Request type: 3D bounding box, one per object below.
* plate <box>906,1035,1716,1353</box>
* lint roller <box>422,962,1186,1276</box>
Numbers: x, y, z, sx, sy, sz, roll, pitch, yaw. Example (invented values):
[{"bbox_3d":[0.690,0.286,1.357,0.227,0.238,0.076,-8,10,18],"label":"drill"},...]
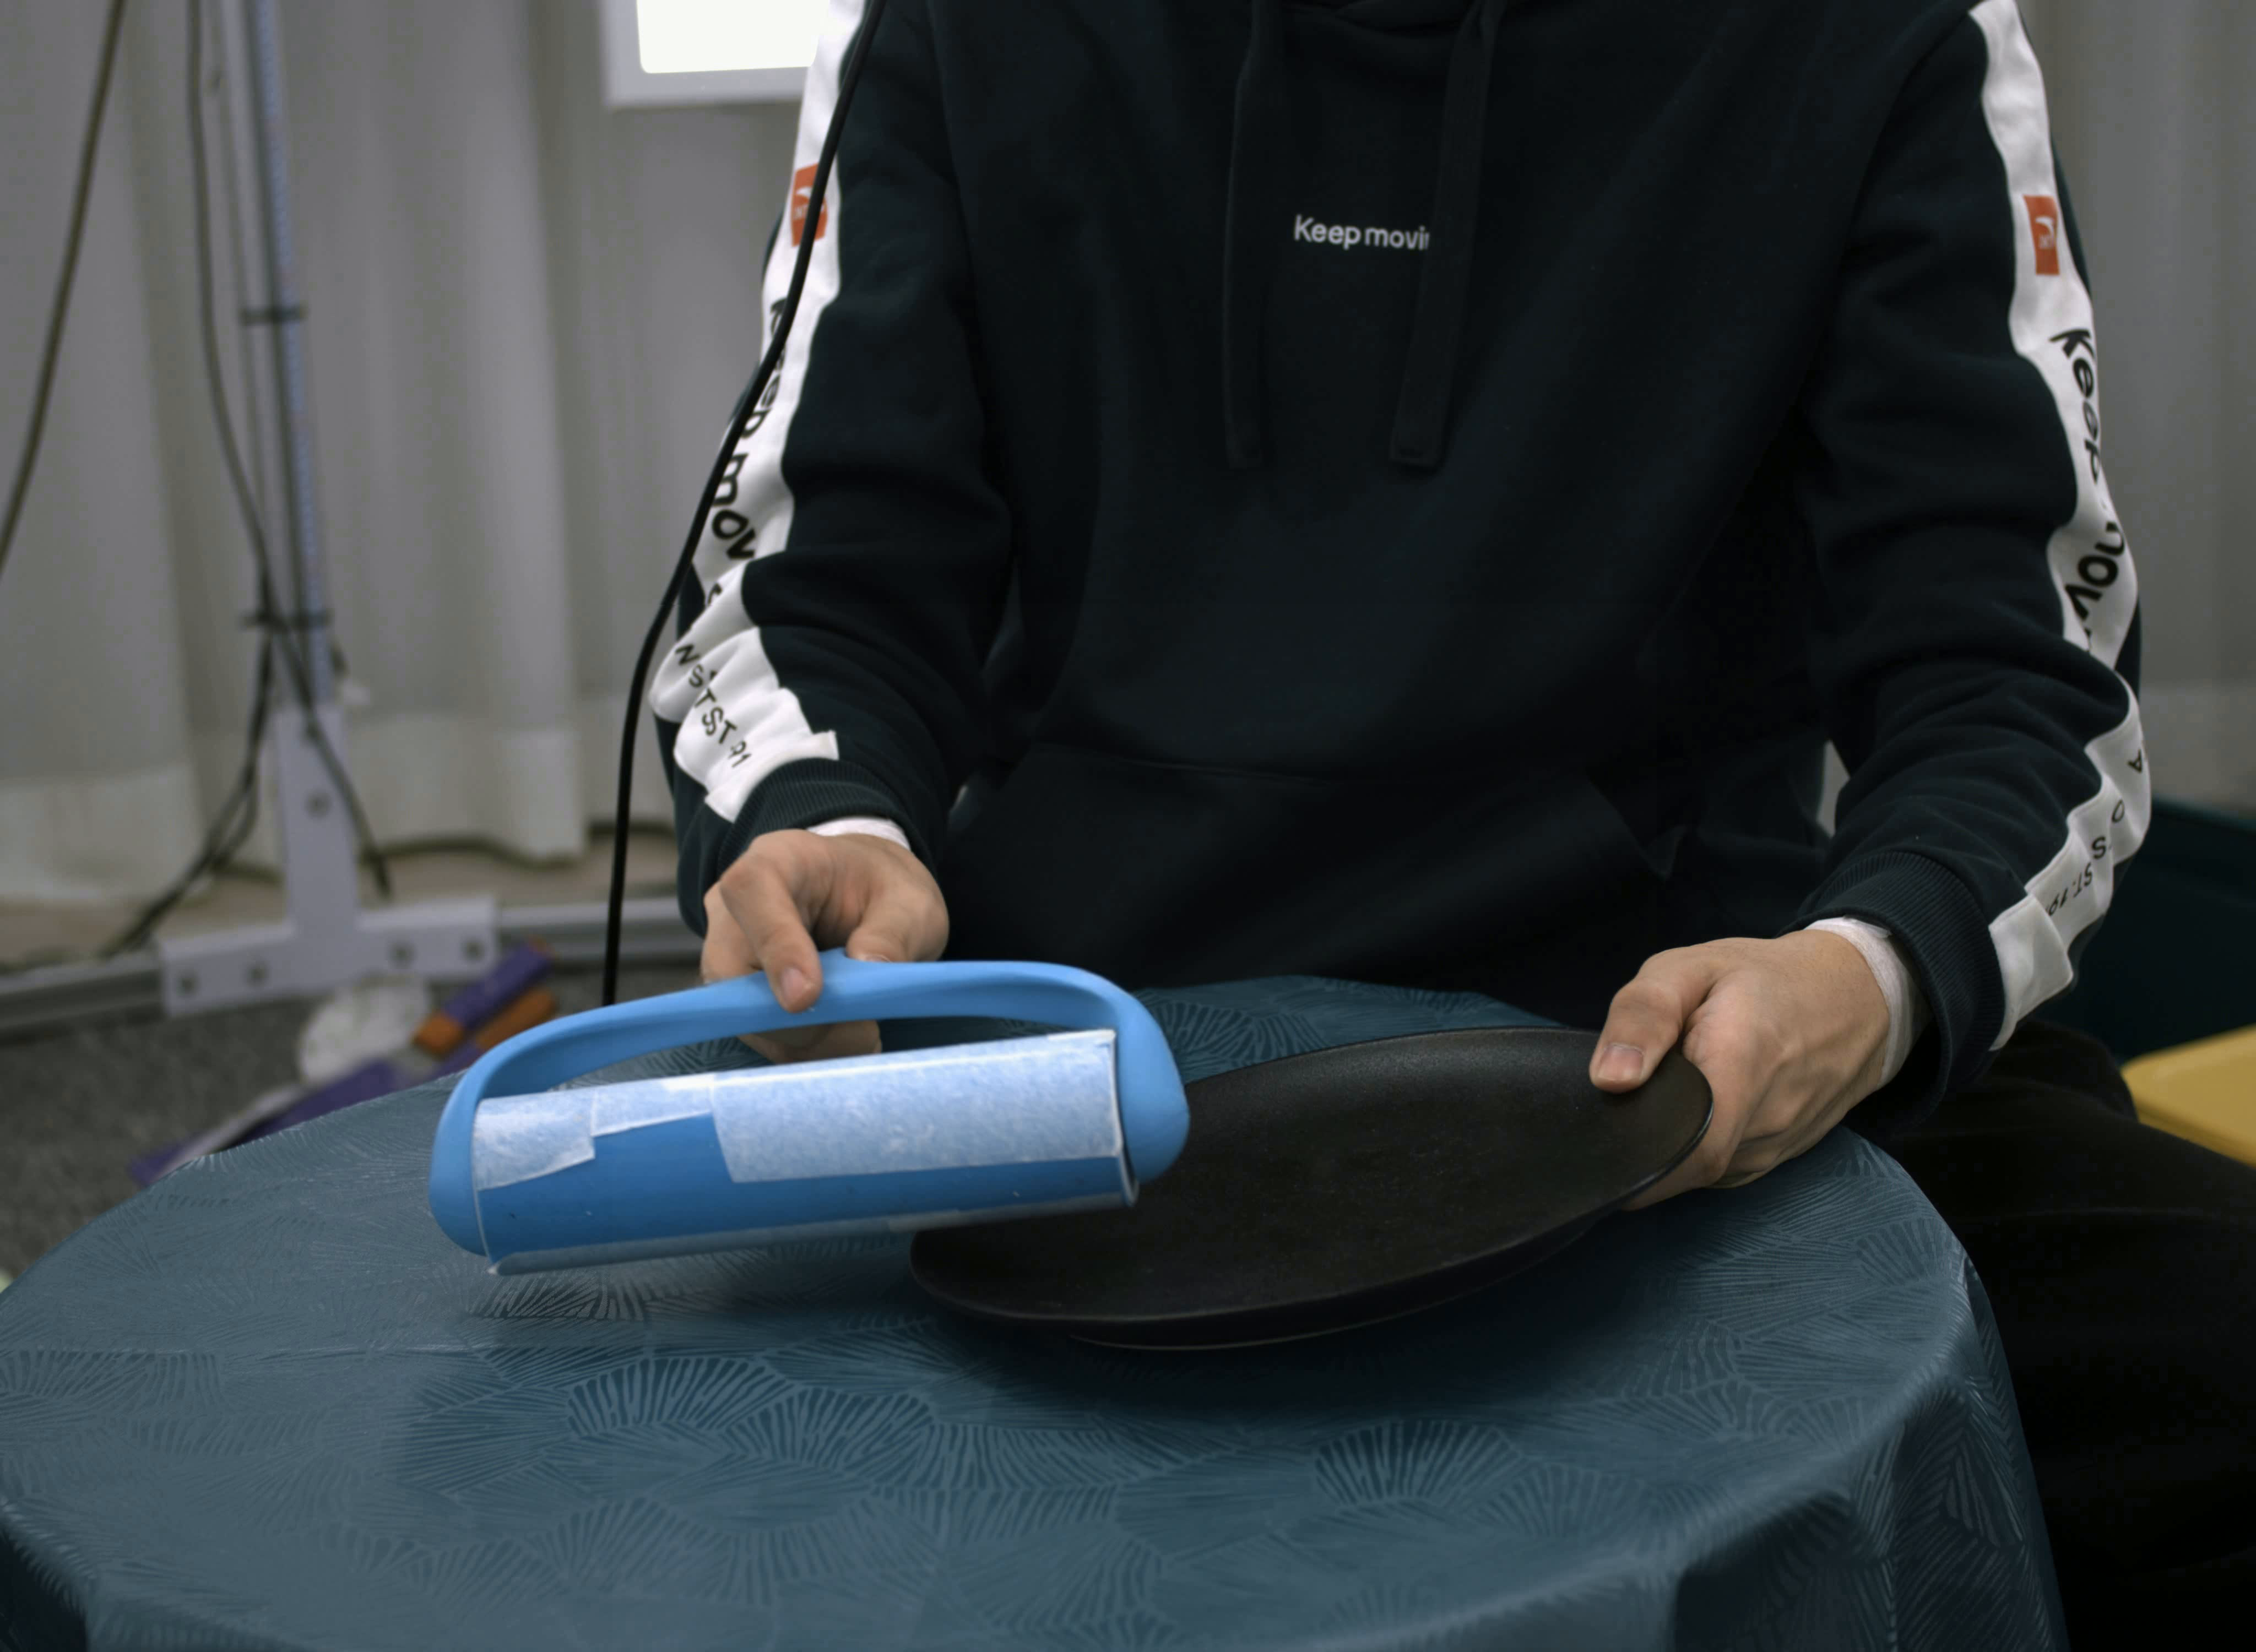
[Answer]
[{"bbox_3d":[0.055,0.111,1.617,0.243,0.023,0.246,-12,13,2],"label":"plate"},{"bbox_3d":[-0.098,0.074,1.677,0.228,0.067,0.182,-9,21,2],"label":"lint roller"}]
